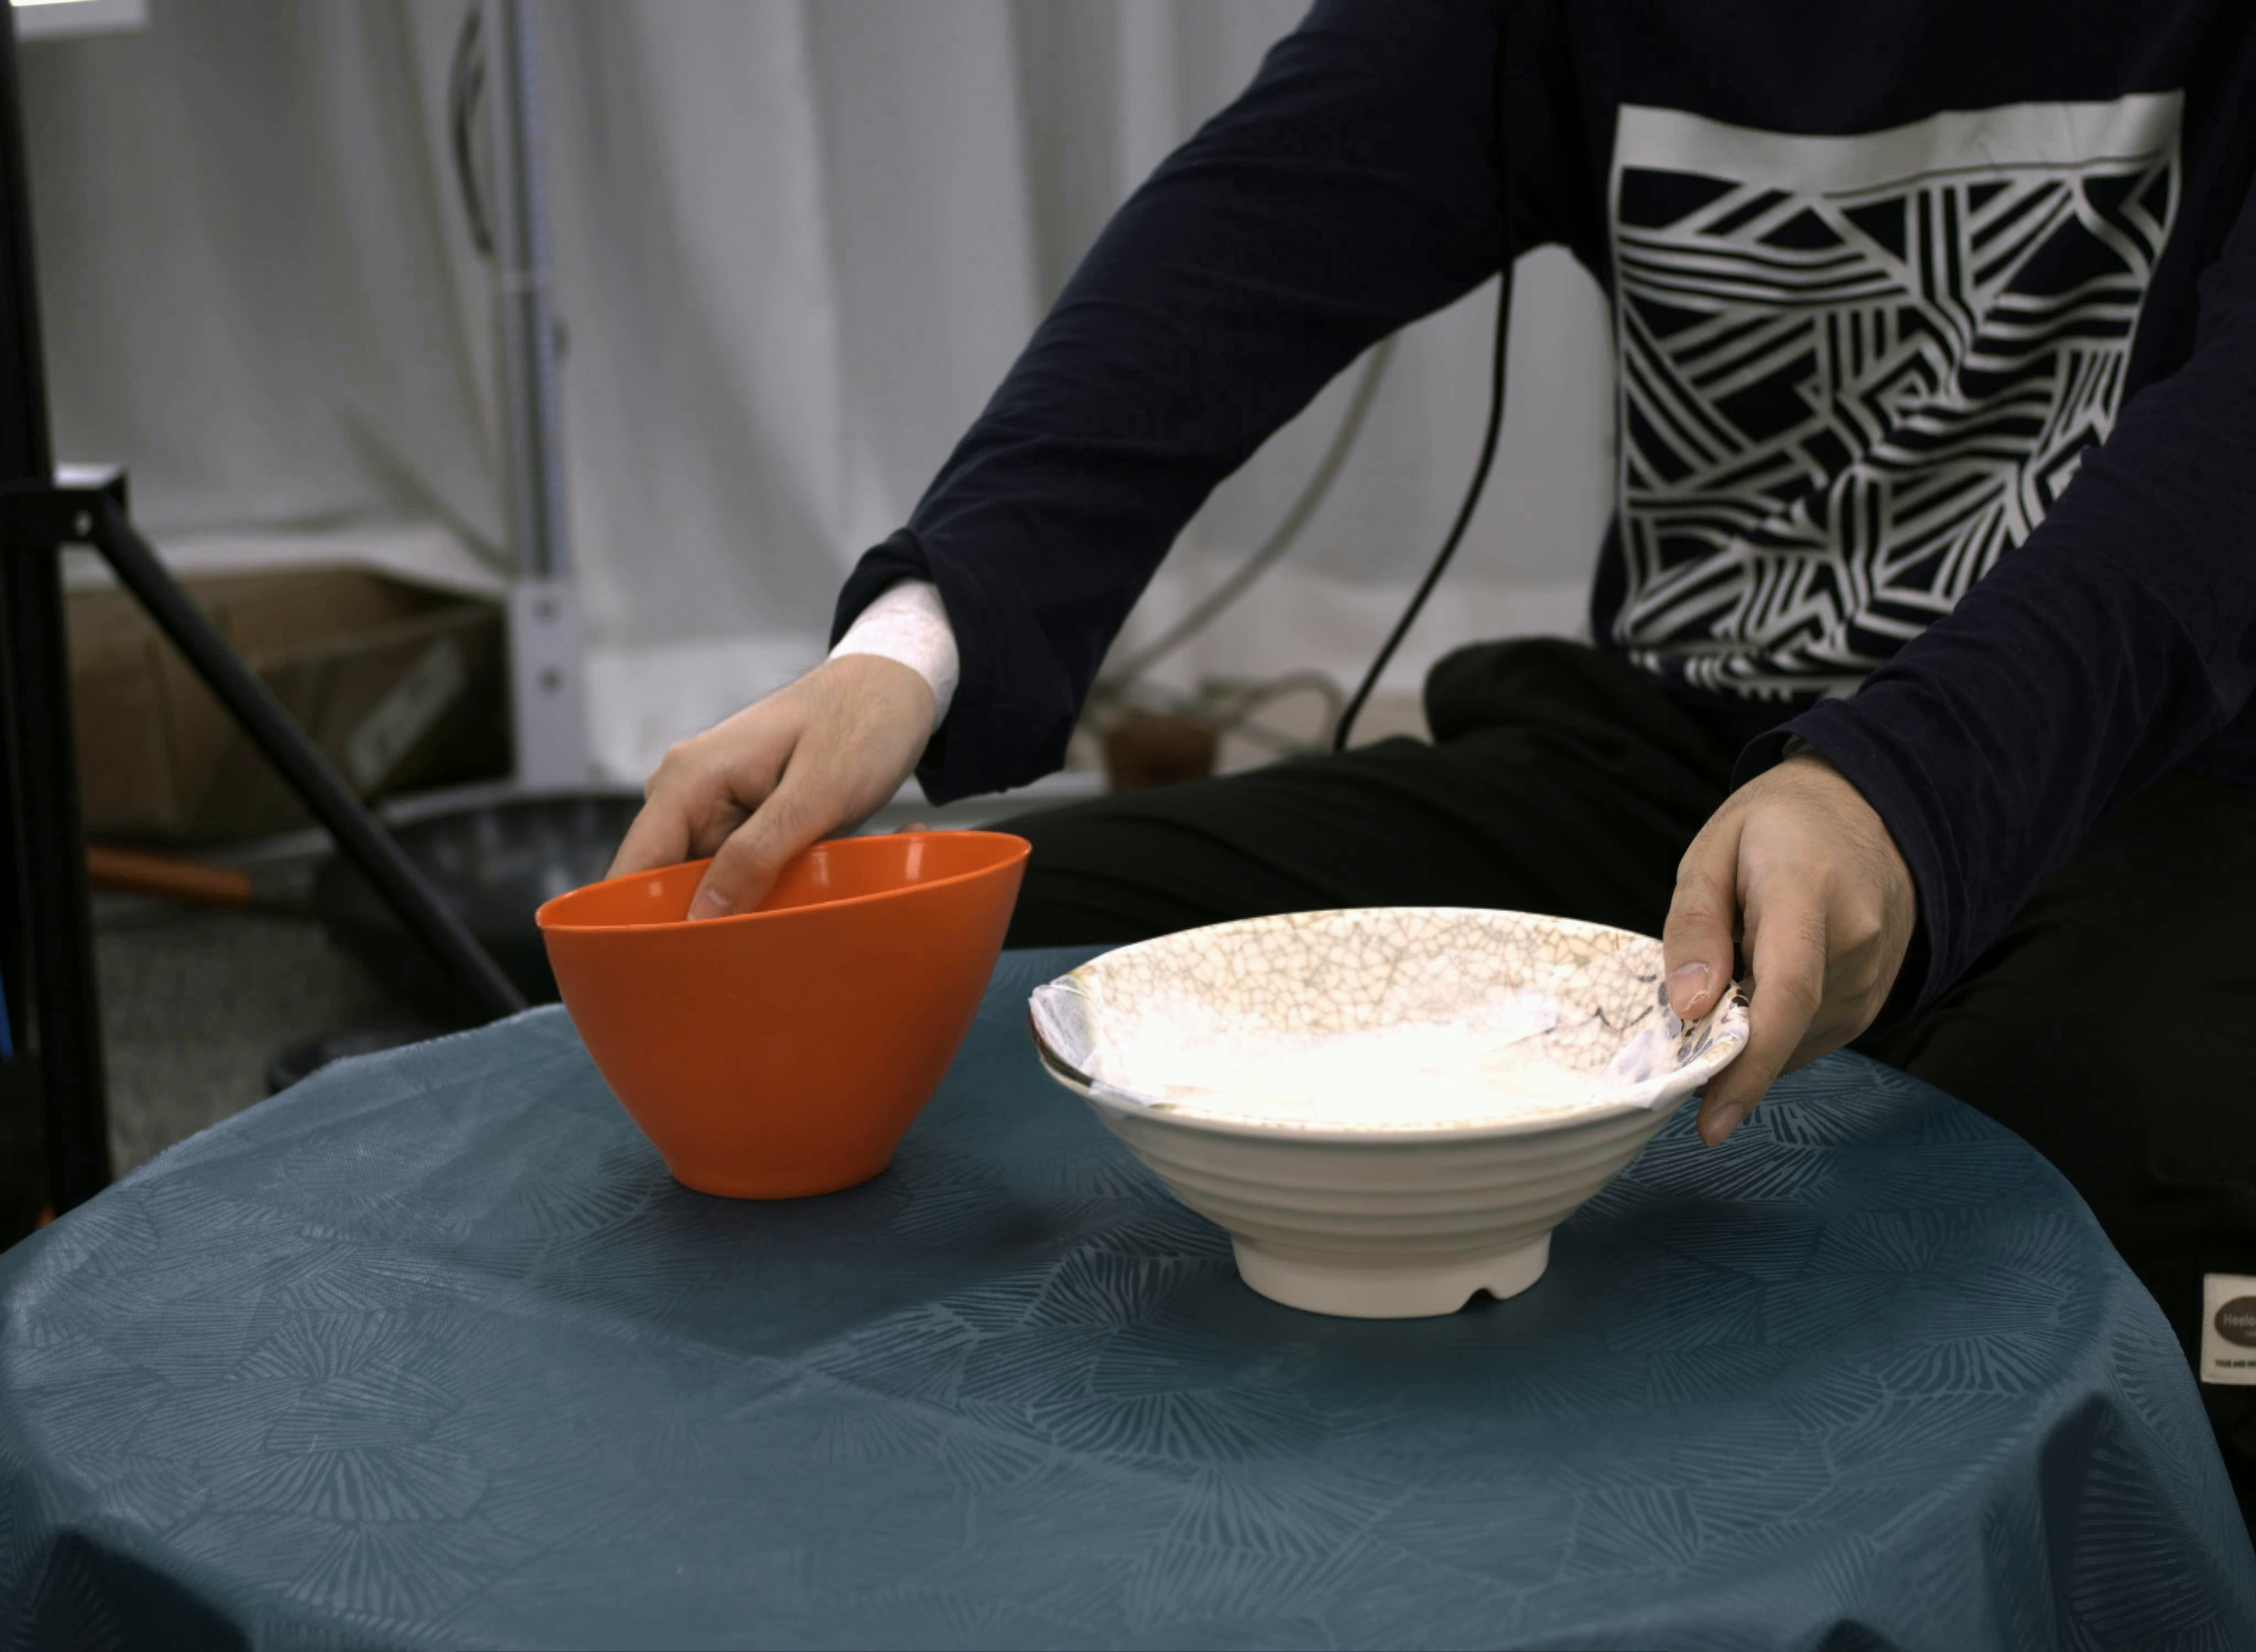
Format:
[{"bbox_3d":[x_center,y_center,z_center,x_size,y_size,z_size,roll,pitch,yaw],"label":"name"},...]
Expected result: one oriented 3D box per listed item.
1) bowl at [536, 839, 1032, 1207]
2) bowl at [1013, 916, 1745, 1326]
[{"bbox_3d":[-0.100,0.057,1.578,0.147,0.105,0.149,-3,14,-1],"label":"bowl"},{"bbox_3d":[0.069,0.089,1.482,0.203,0.078,0.205,0,14,-1],"label":"bowl"}]
